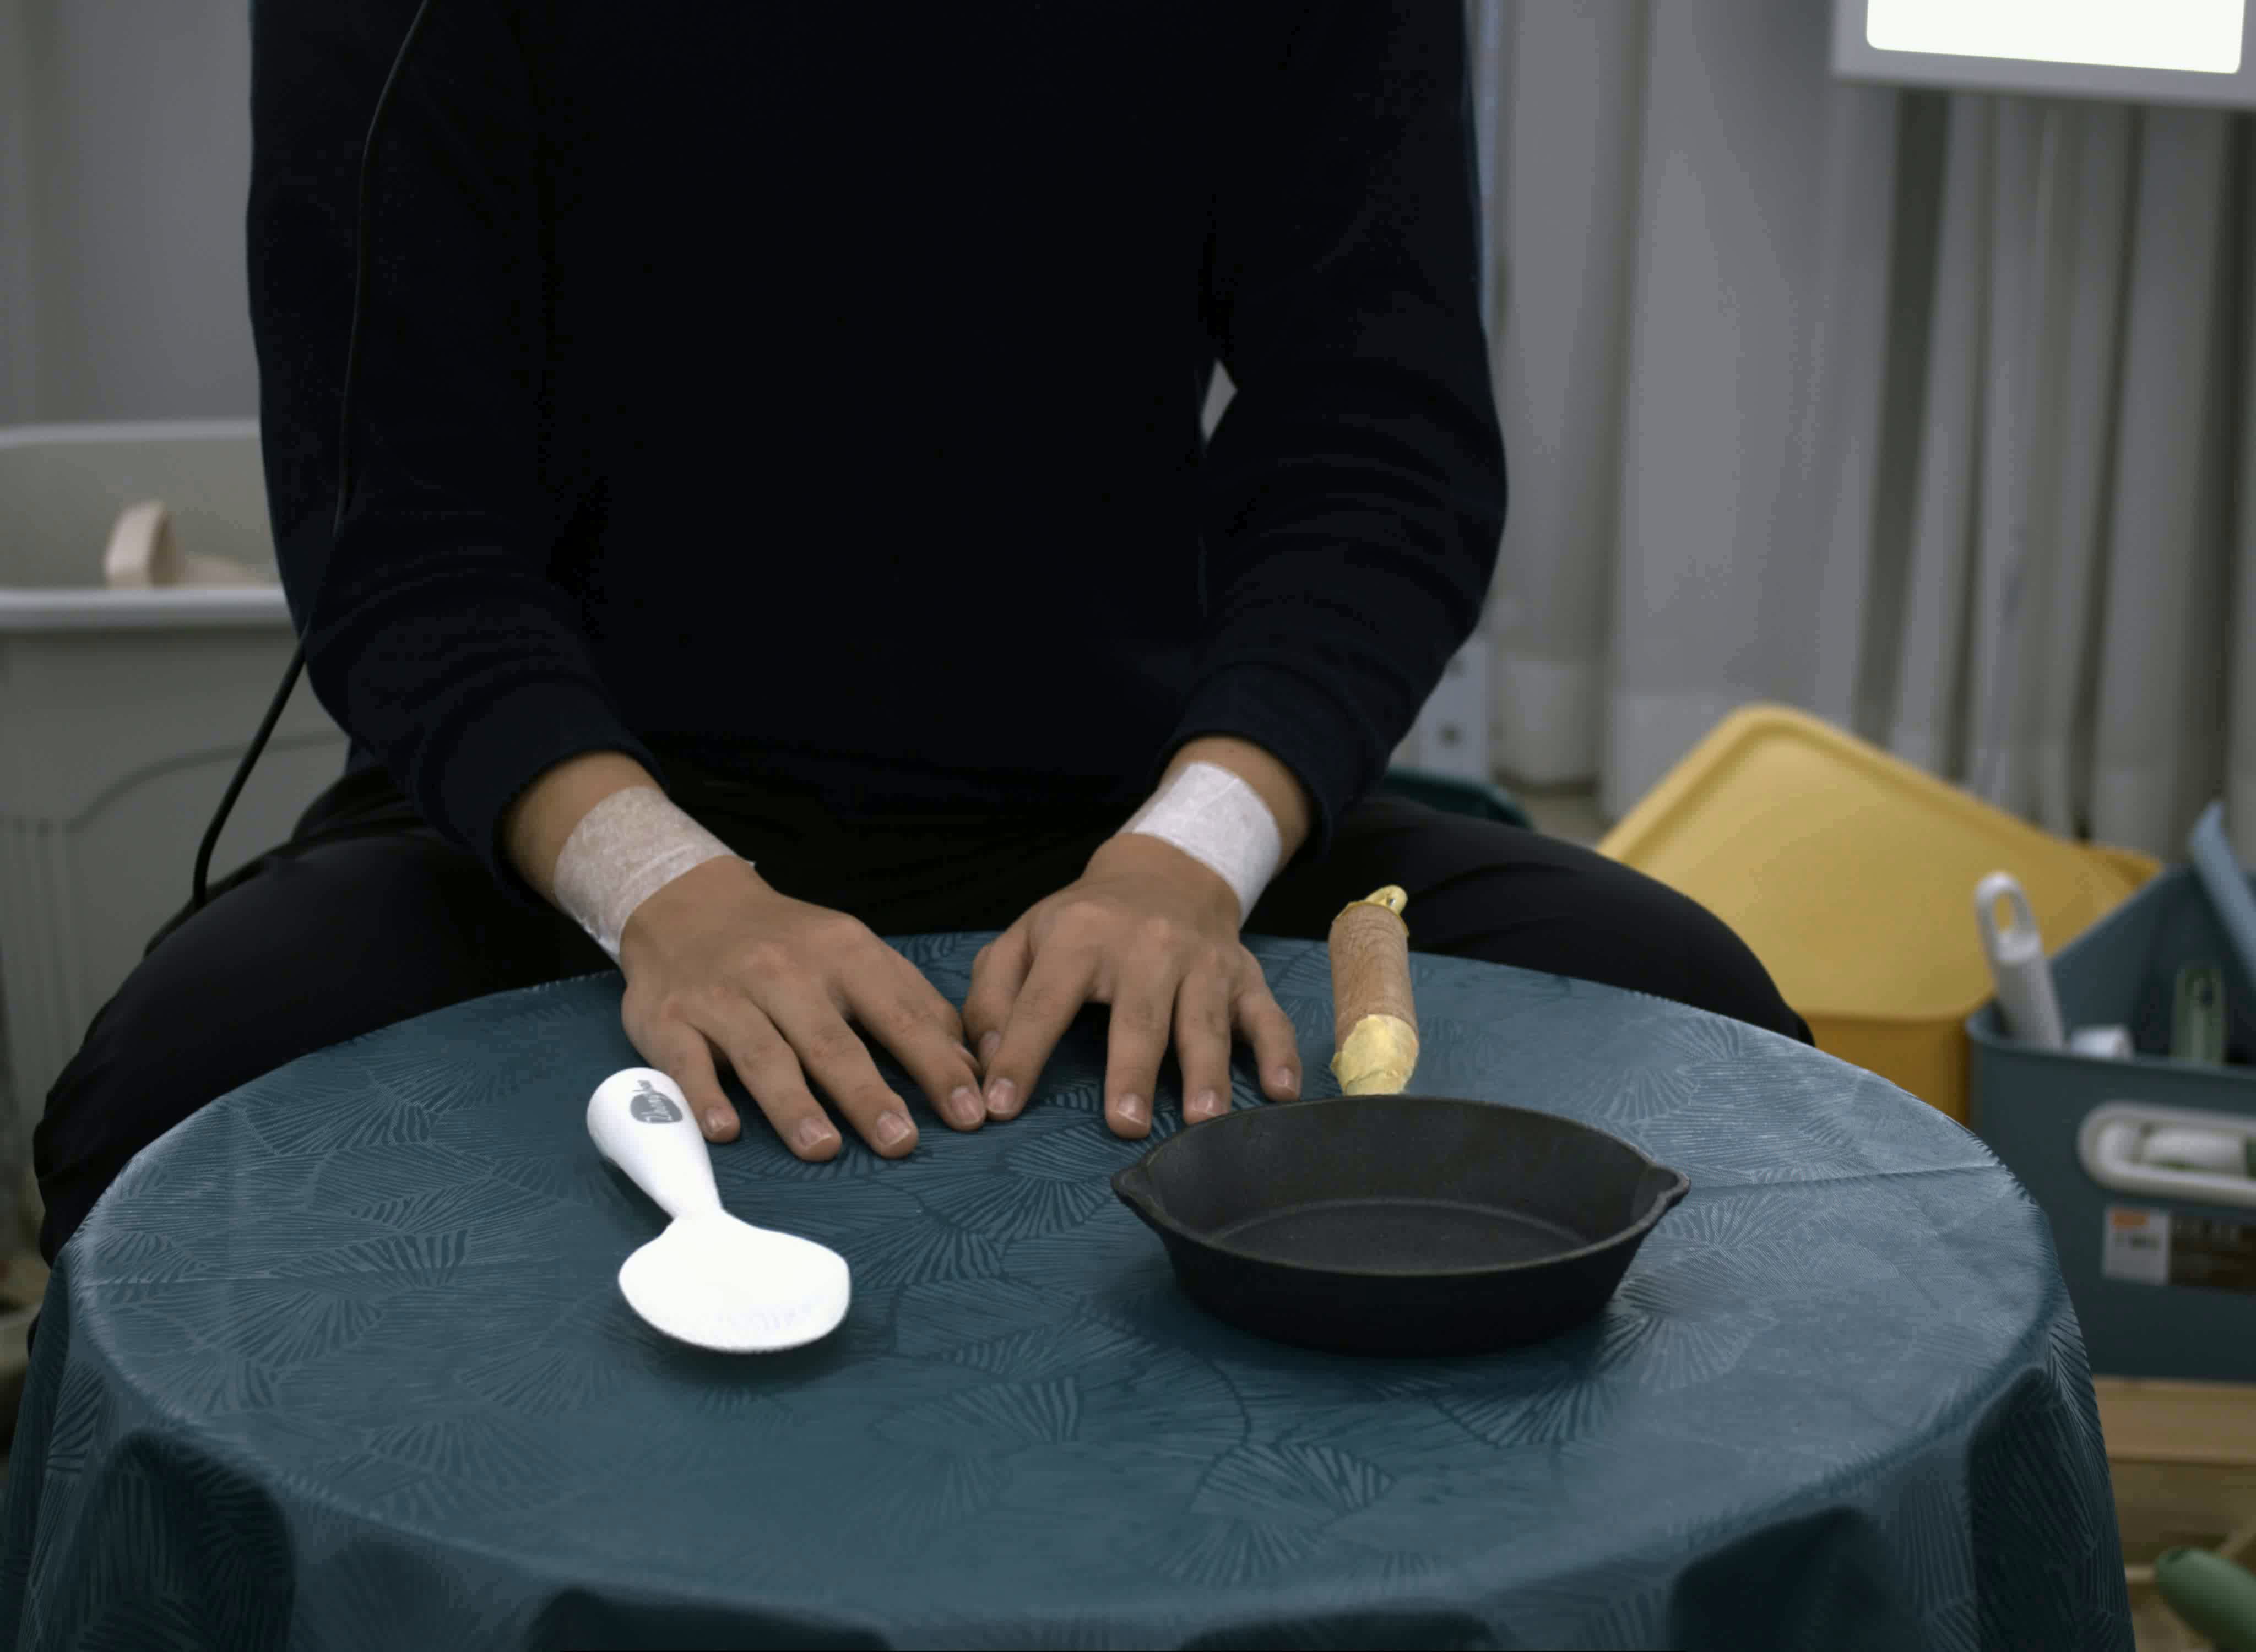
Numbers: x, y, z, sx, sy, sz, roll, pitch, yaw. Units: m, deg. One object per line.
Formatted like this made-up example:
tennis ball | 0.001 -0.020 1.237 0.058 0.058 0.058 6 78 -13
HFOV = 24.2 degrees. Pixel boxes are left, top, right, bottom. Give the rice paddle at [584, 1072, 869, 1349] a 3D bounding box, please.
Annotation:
rice paddle | -0.126 0.115 1.554 0.069 0.029 0.203 -6 16 -16

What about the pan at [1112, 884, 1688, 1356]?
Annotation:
pan | 0.082 0.087 1.621 0.168 0.050 0.322 1 17 1
